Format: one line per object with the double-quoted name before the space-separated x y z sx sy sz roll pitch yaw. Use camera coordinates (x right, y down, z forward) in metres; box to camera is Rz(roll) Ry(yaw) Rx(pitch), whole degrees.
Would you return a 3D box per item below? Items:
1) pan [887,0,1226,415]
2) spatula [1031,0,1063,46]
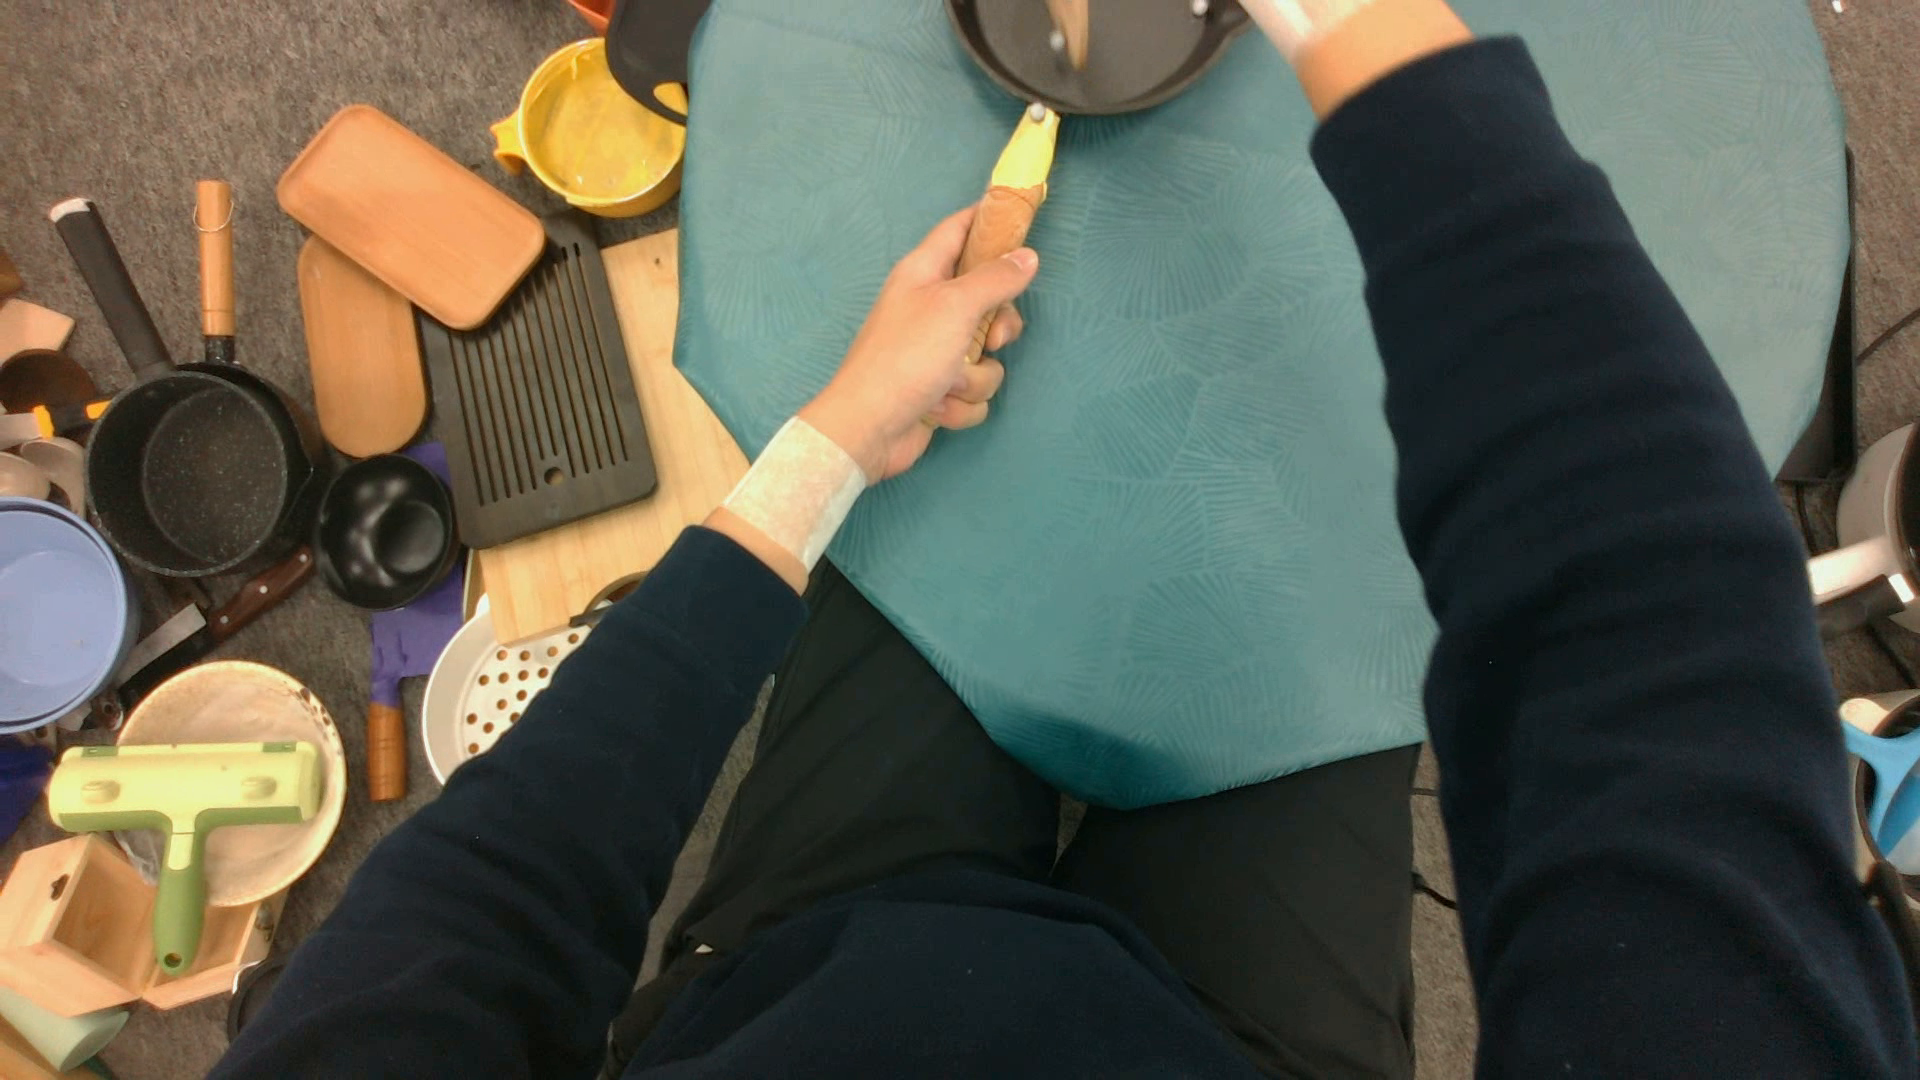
"pan" 0.024 -0.212 0.689 0.169 0.049 0.324 20 82 2
"spatula" 0.024 -0.286 0.562 0.016 0.328 0.080 -20 90 7
